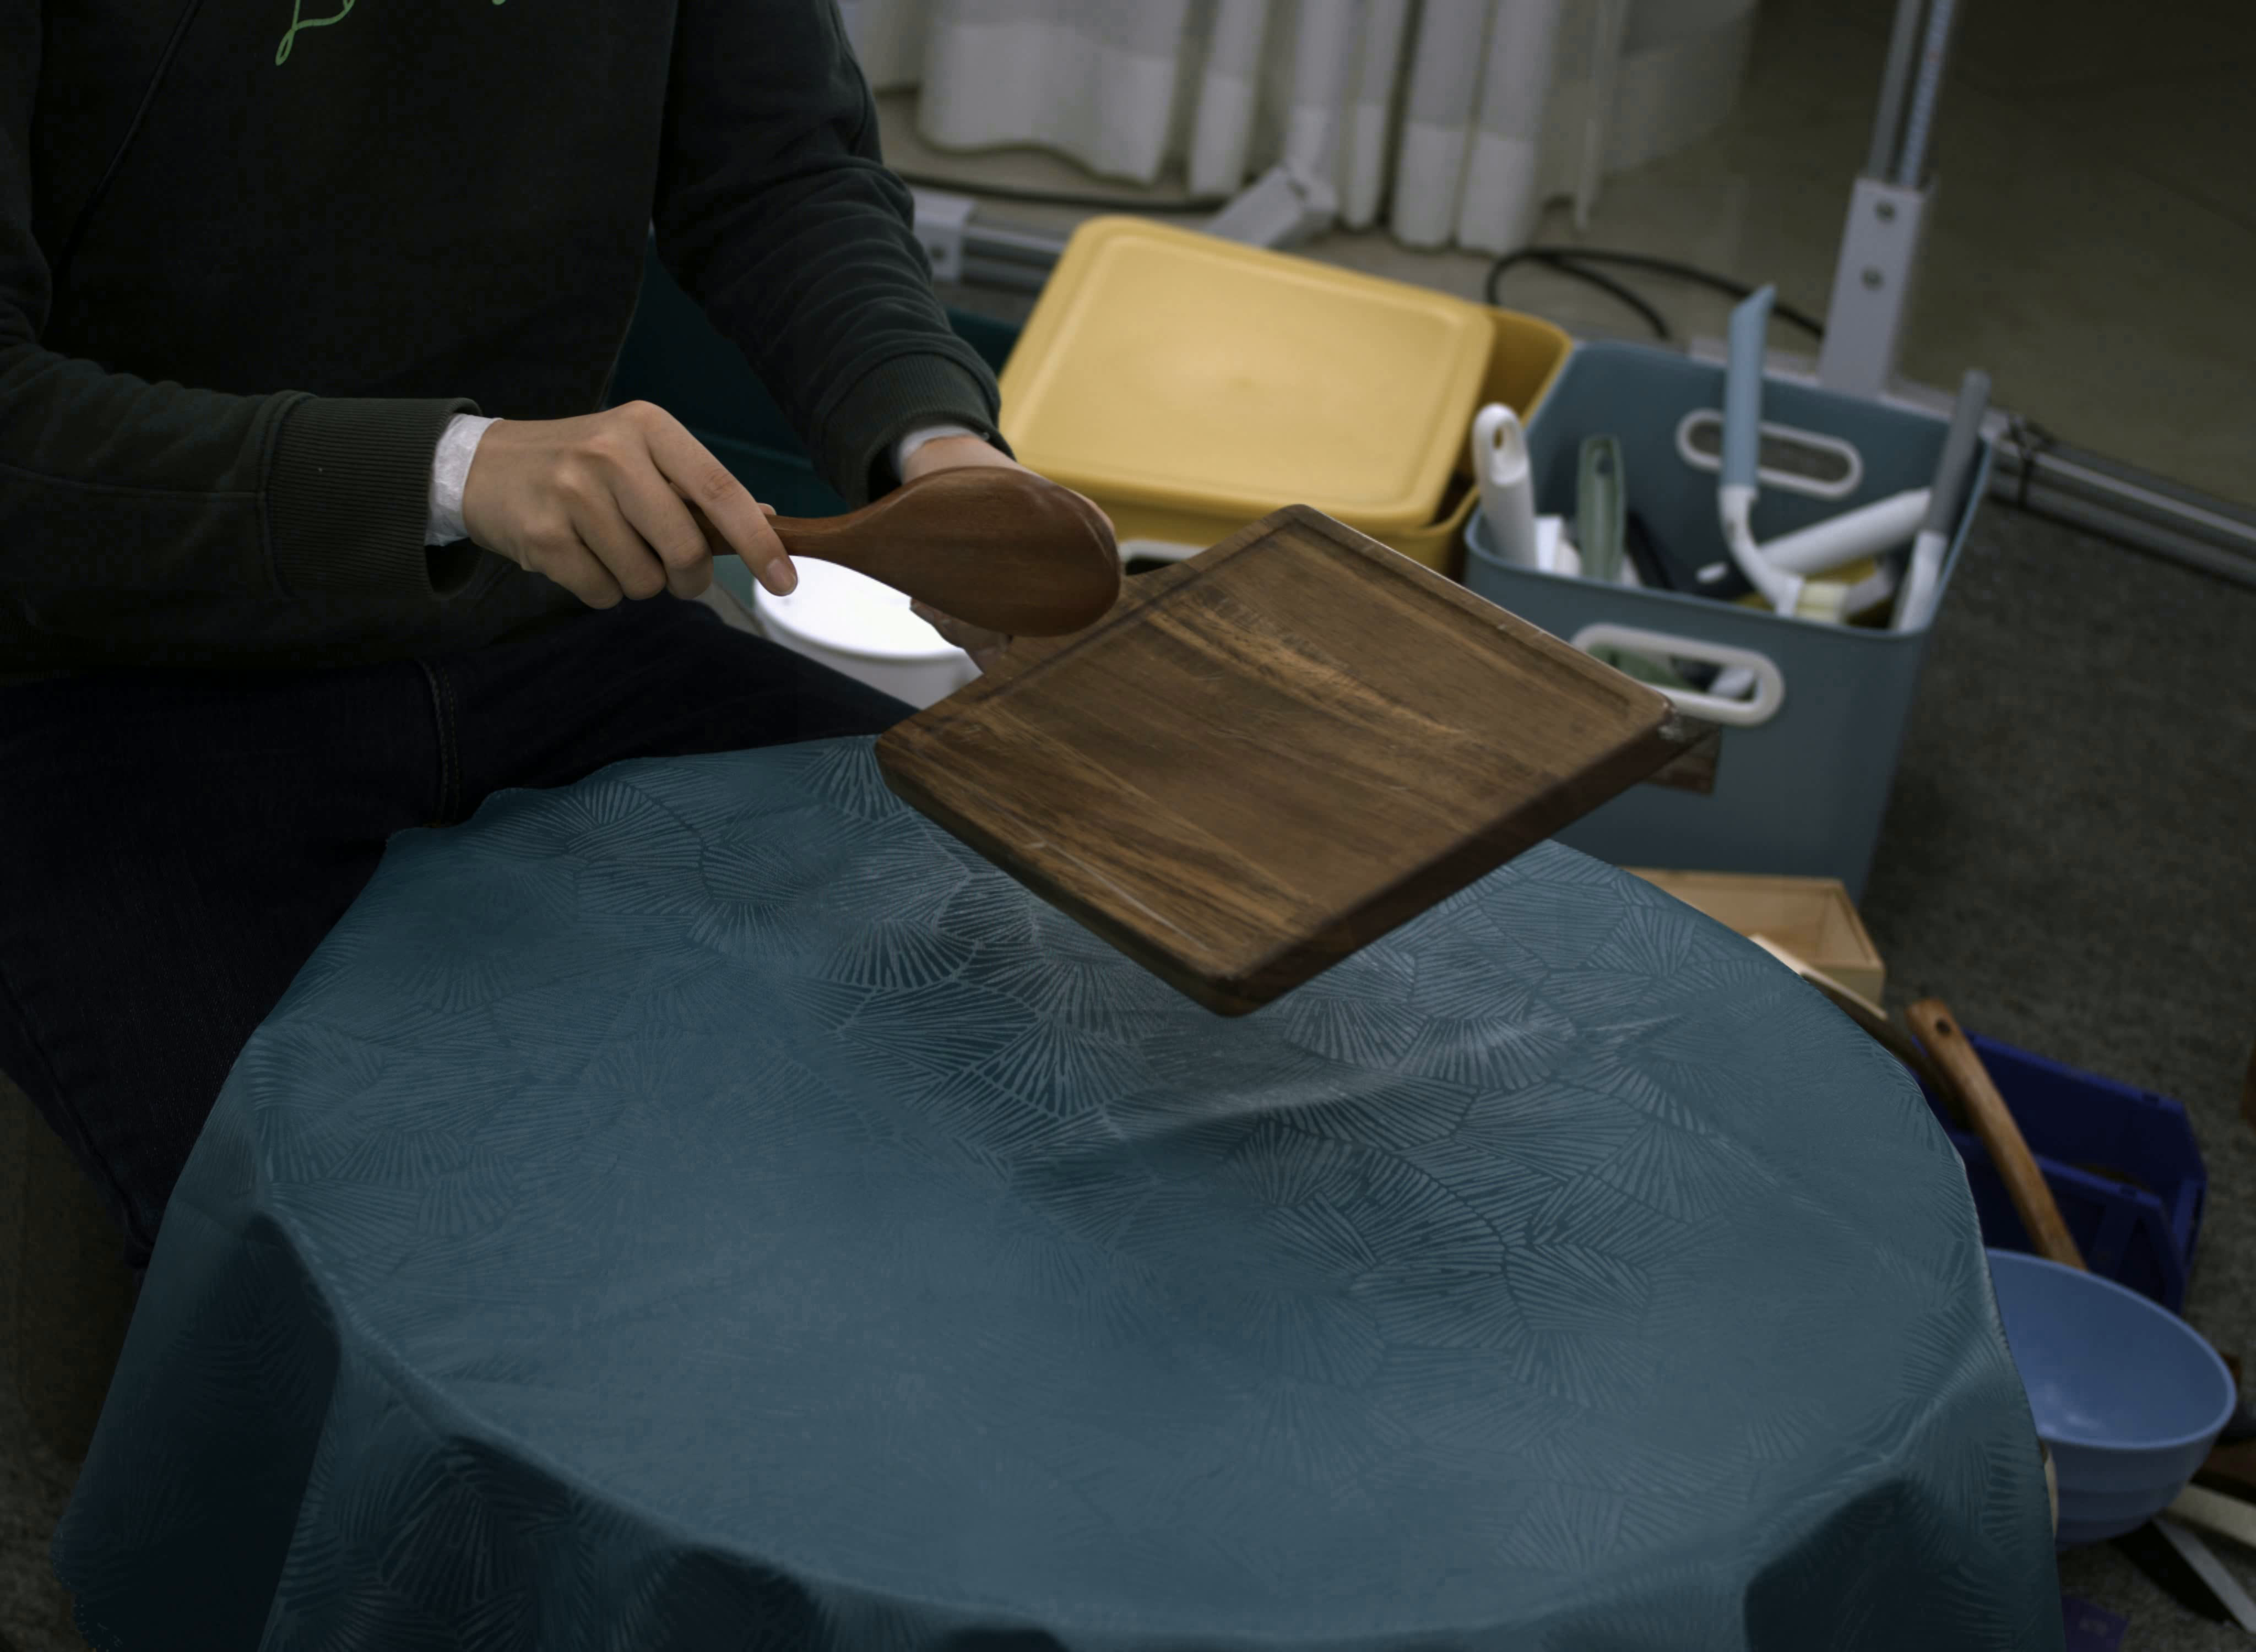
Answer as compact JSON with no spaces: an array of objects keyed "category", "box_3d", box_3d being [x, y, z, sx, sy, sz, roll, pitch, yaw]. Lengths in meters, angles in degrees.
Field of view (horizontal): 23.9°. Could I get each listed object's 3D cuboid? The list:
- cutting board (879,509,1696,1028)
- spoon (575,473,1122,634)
[{"category":"cutting board","box_3d":[0.027,-0.042,1.904,0.200,0.023,0.355,-31,32,-18]},{"category":"spoon","box_3d":[-0.102,-0.099,1.890,0.216,0.075,0.017,7,48,25]}]
